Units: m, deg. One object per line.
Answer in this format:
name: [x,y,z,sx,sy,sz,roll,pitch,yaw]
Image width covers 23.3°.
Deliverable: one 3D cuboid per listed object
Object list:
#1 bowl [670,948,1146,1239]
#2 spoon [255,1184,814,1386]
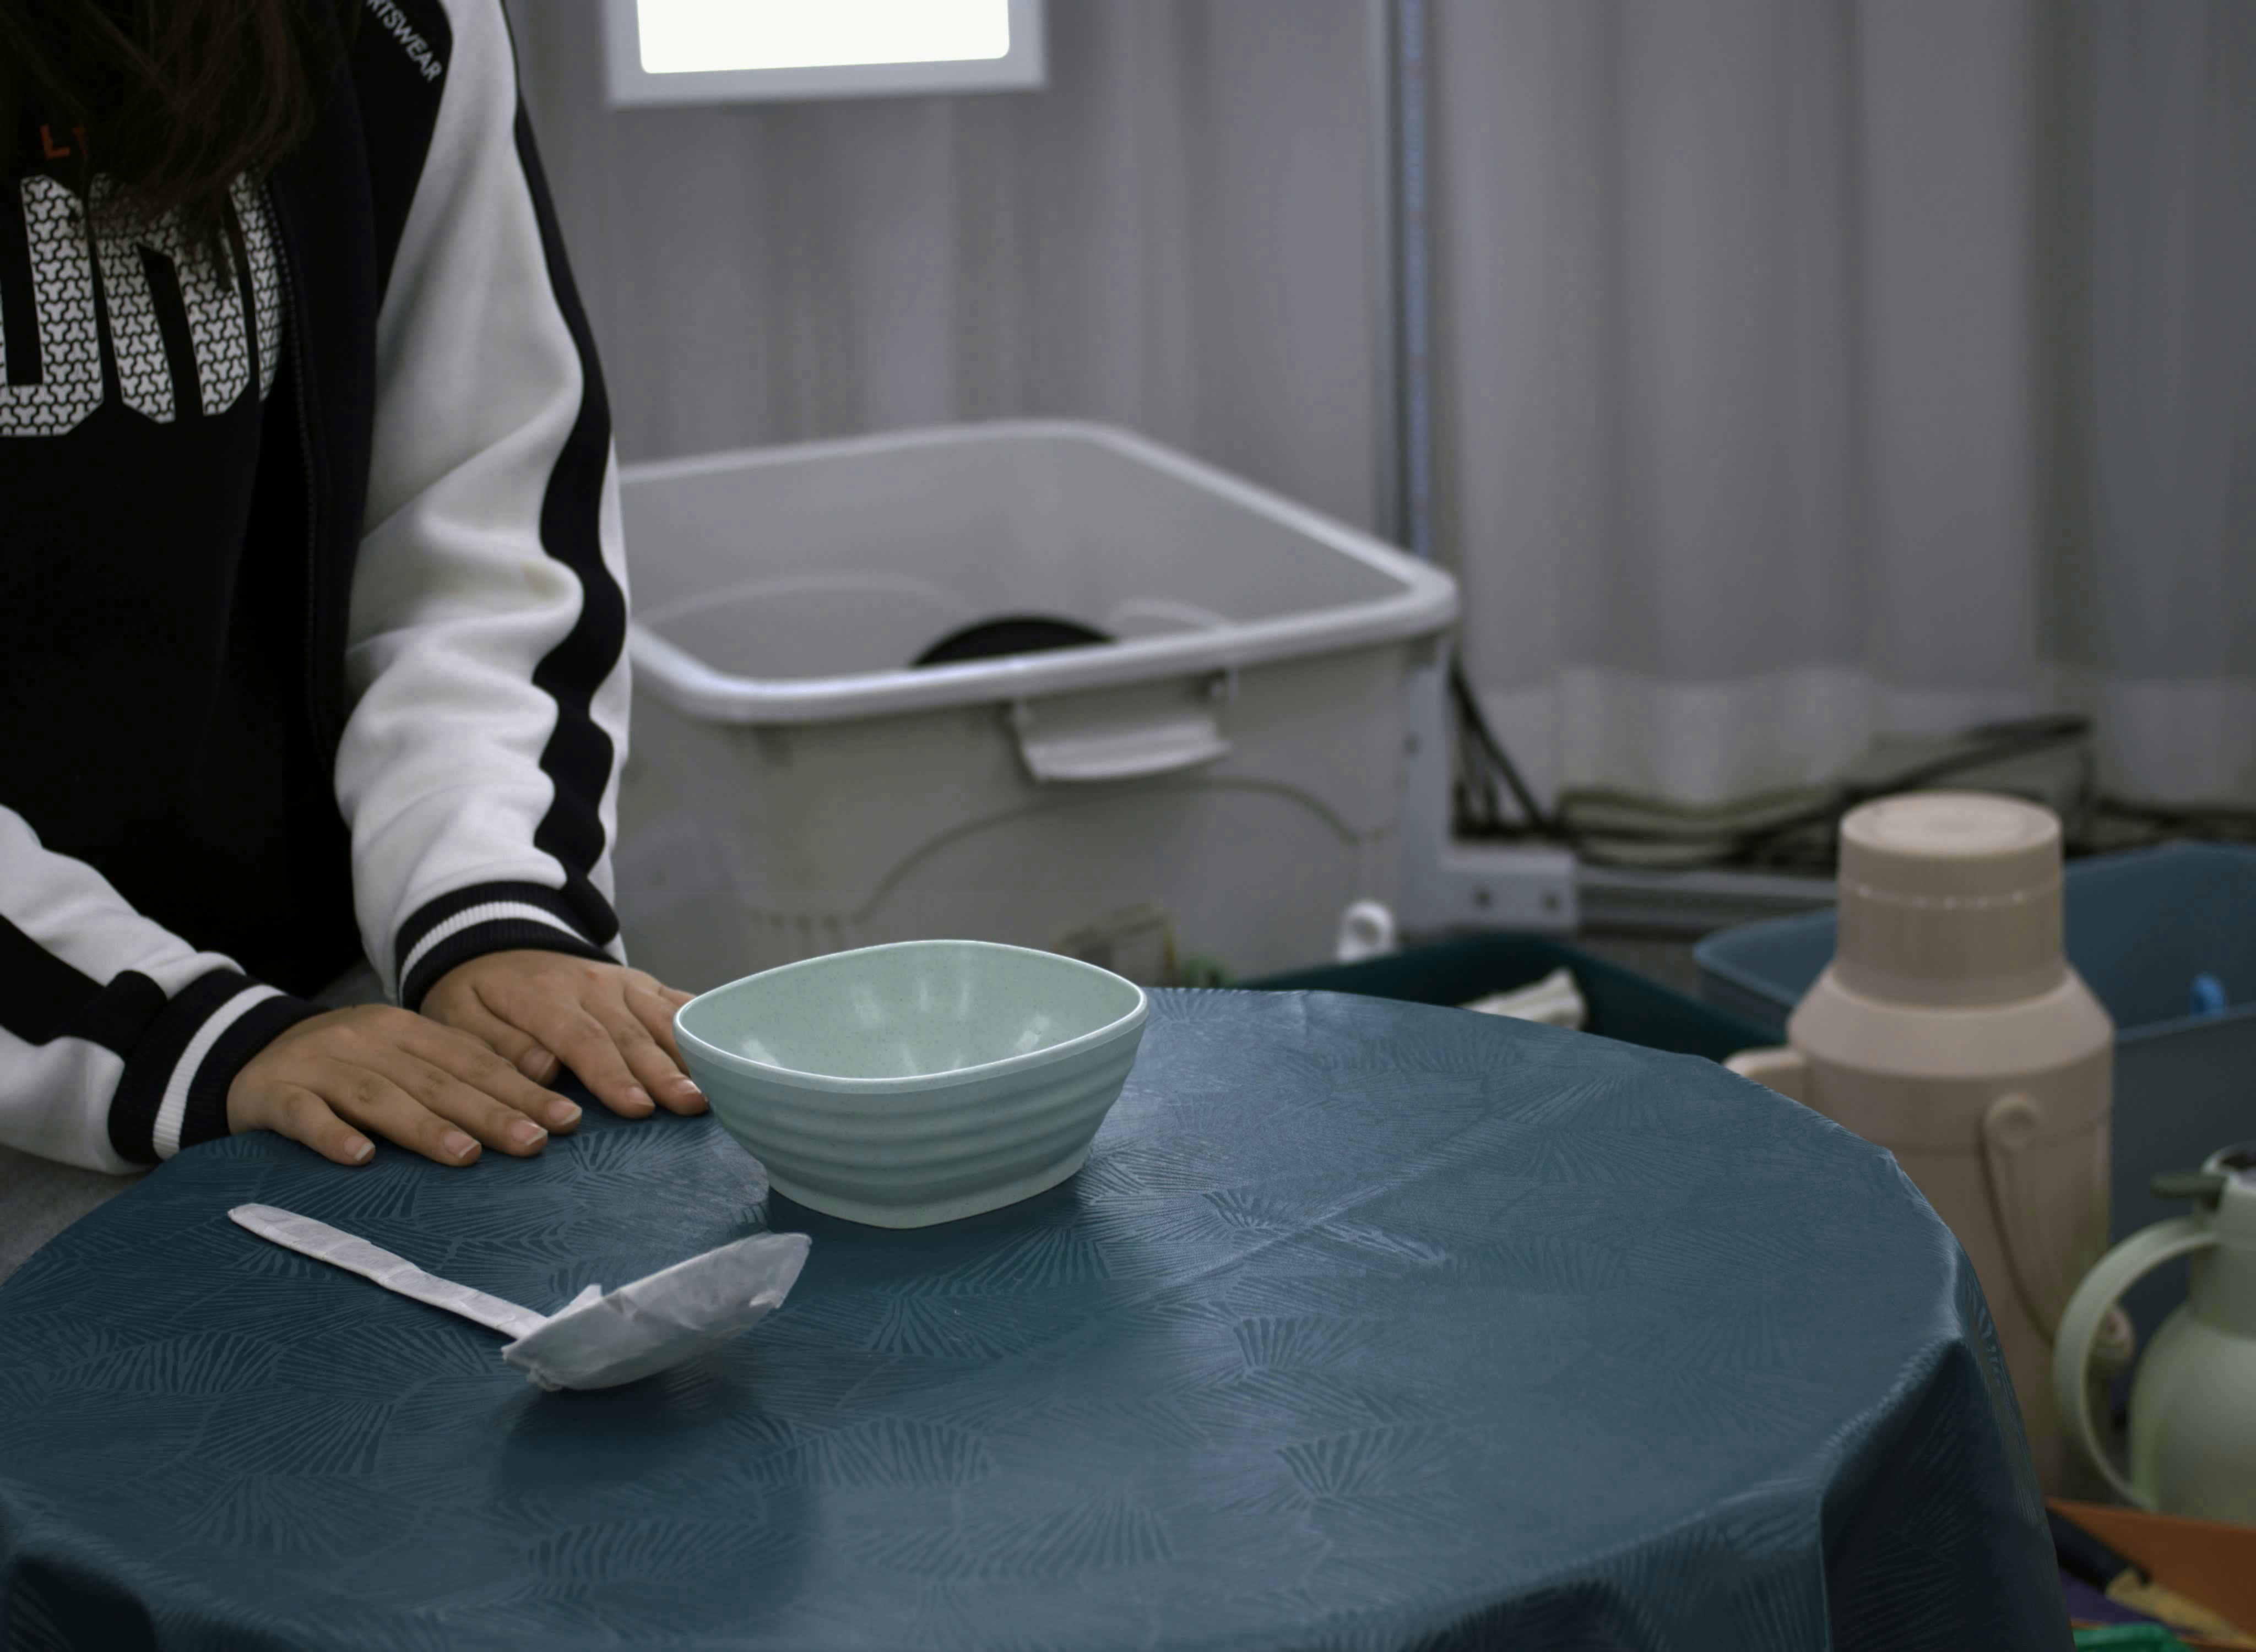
bowl: [-0.068,0.088,1.731,0.151,0.058,0.152,-2,15,0]
spoon: [-0.189,0.117,1.633,0.100,0.059,0.279,-7,14,-35]
